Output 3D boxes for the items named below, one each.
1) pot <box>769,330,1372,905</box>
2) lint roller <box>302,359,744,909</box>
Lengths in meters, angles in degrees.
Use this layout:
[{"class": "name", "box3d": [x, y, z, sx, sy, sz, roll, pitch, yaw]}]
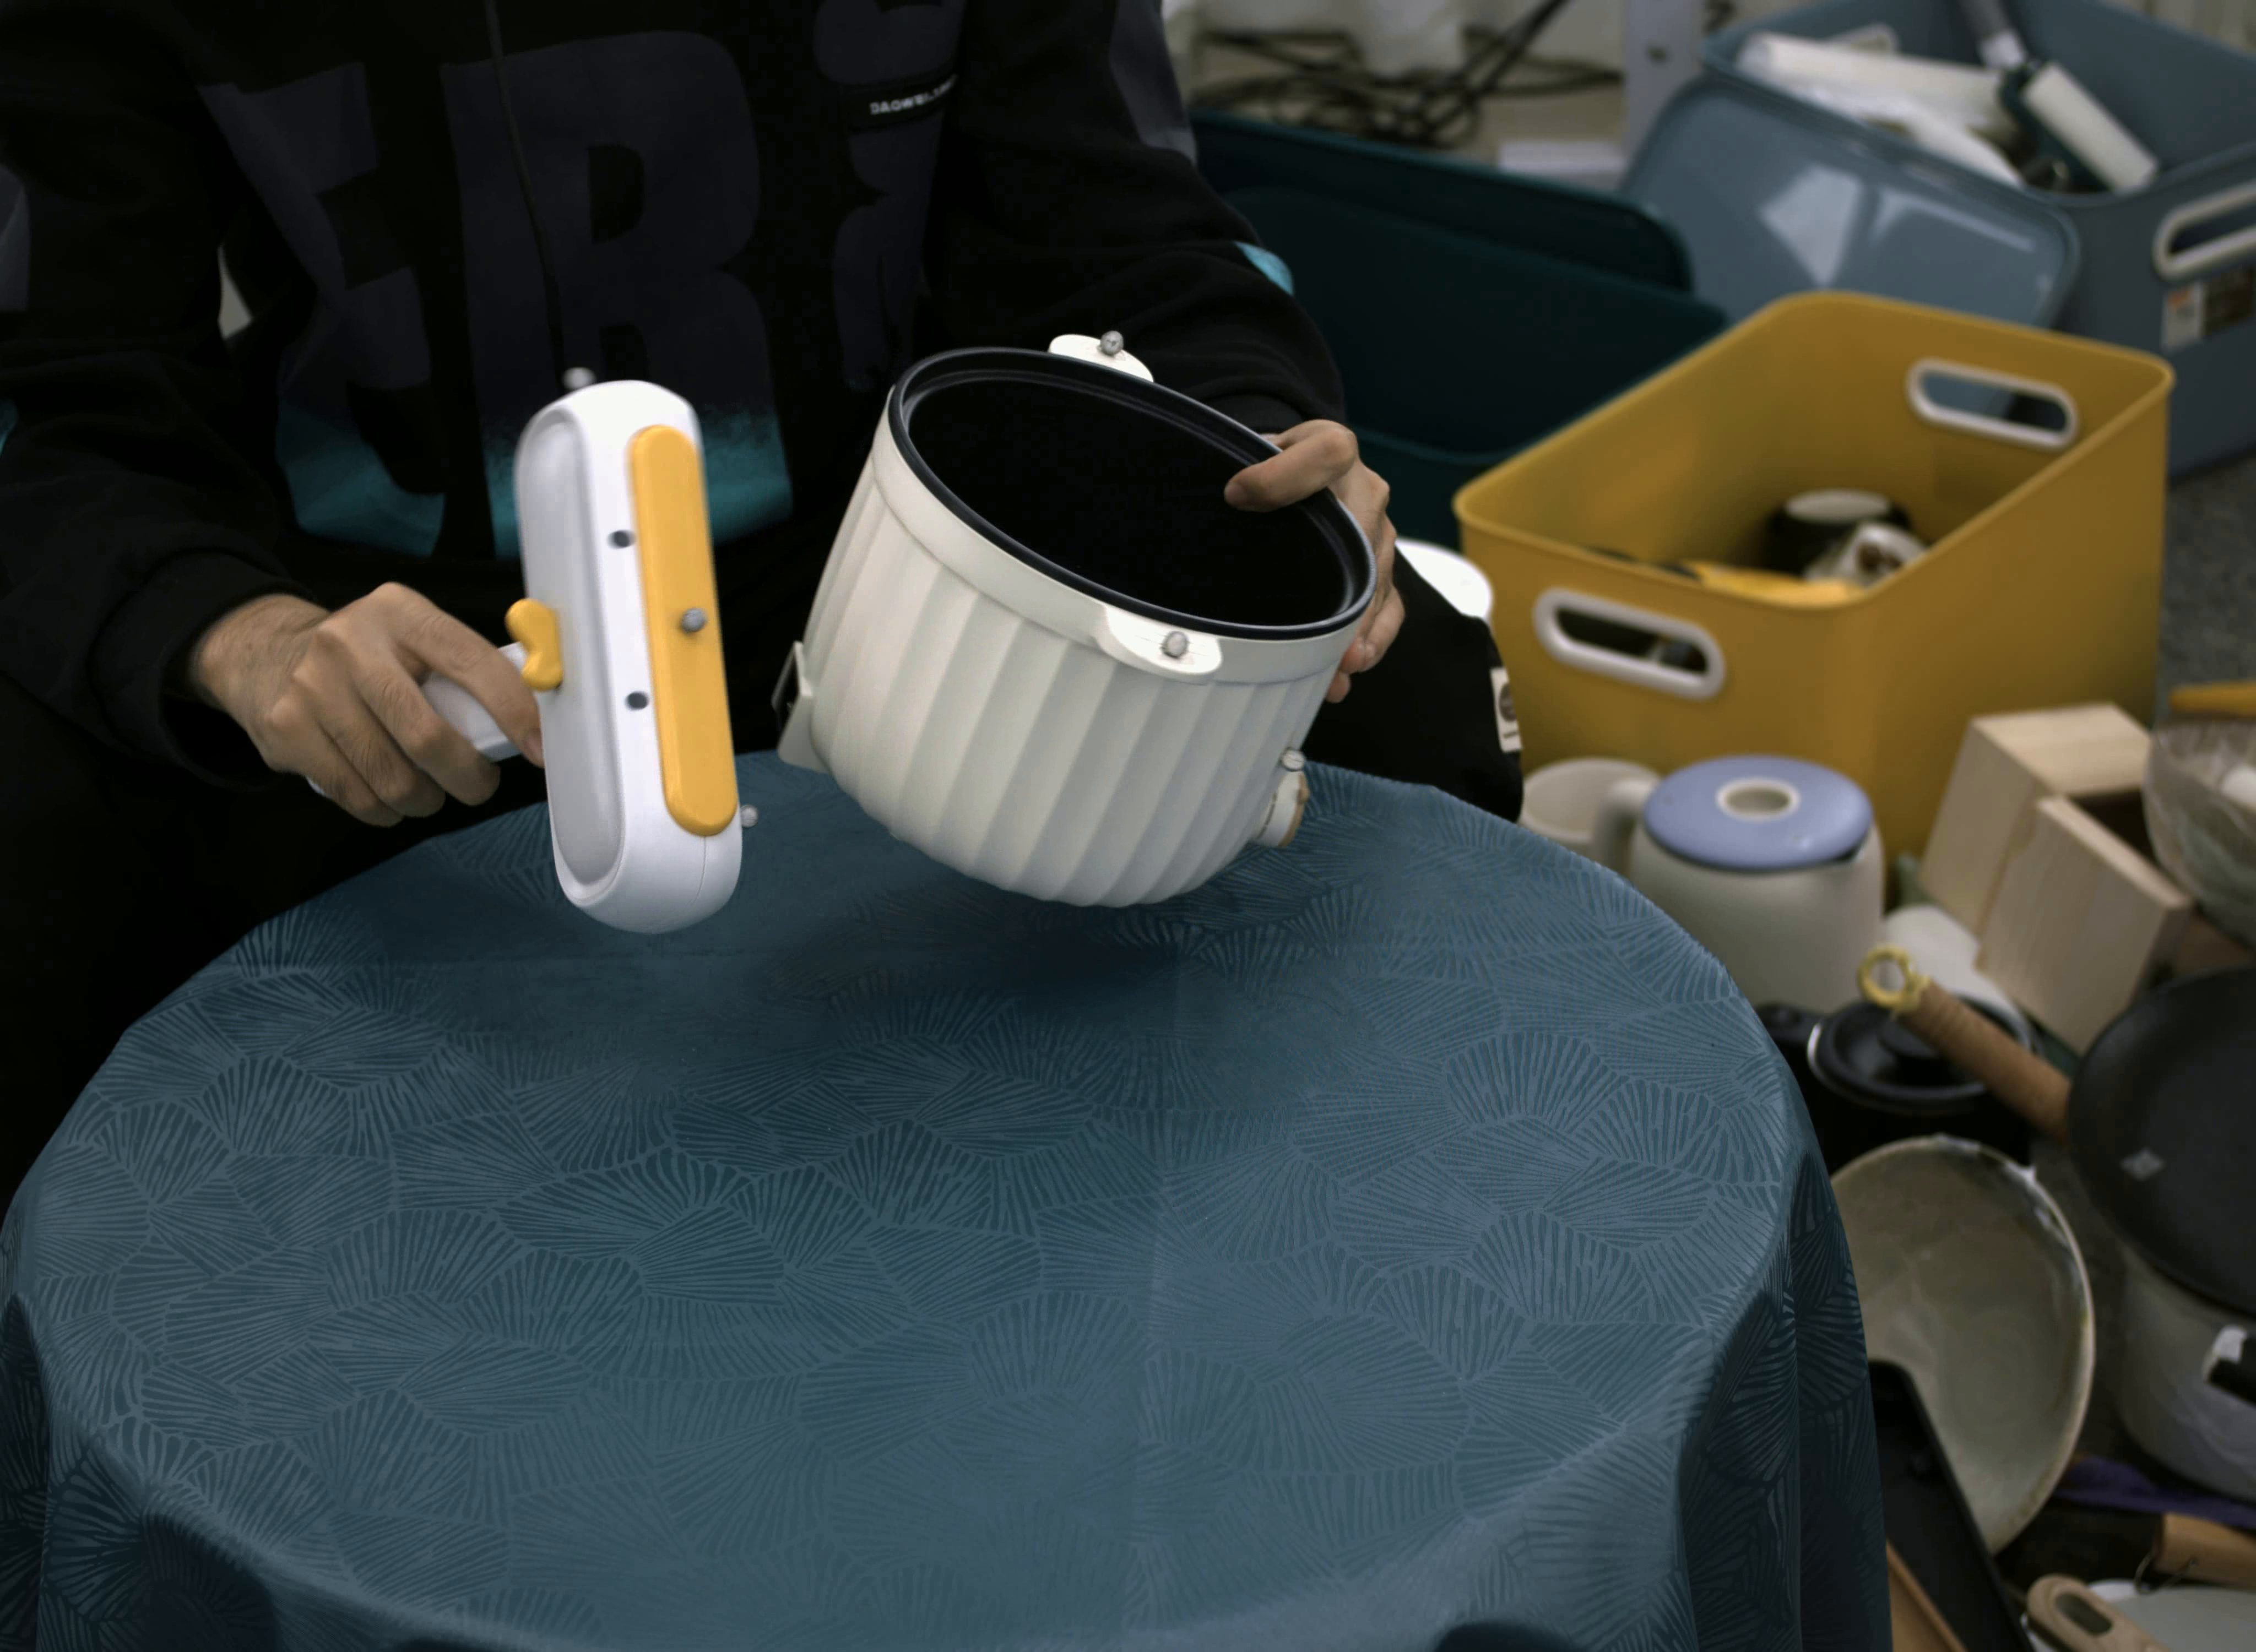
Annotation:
[{"class": "pot", "box3d": [-0.017, -0.064, 1.971, 0.190, 0.141, 0.244, 14, 29, -15]}, {"class": "lint roller", "box3d": [-0.214, -0.048, 1.969, 0.074, 0.195, 0.189, 5, -23, -44]}]
